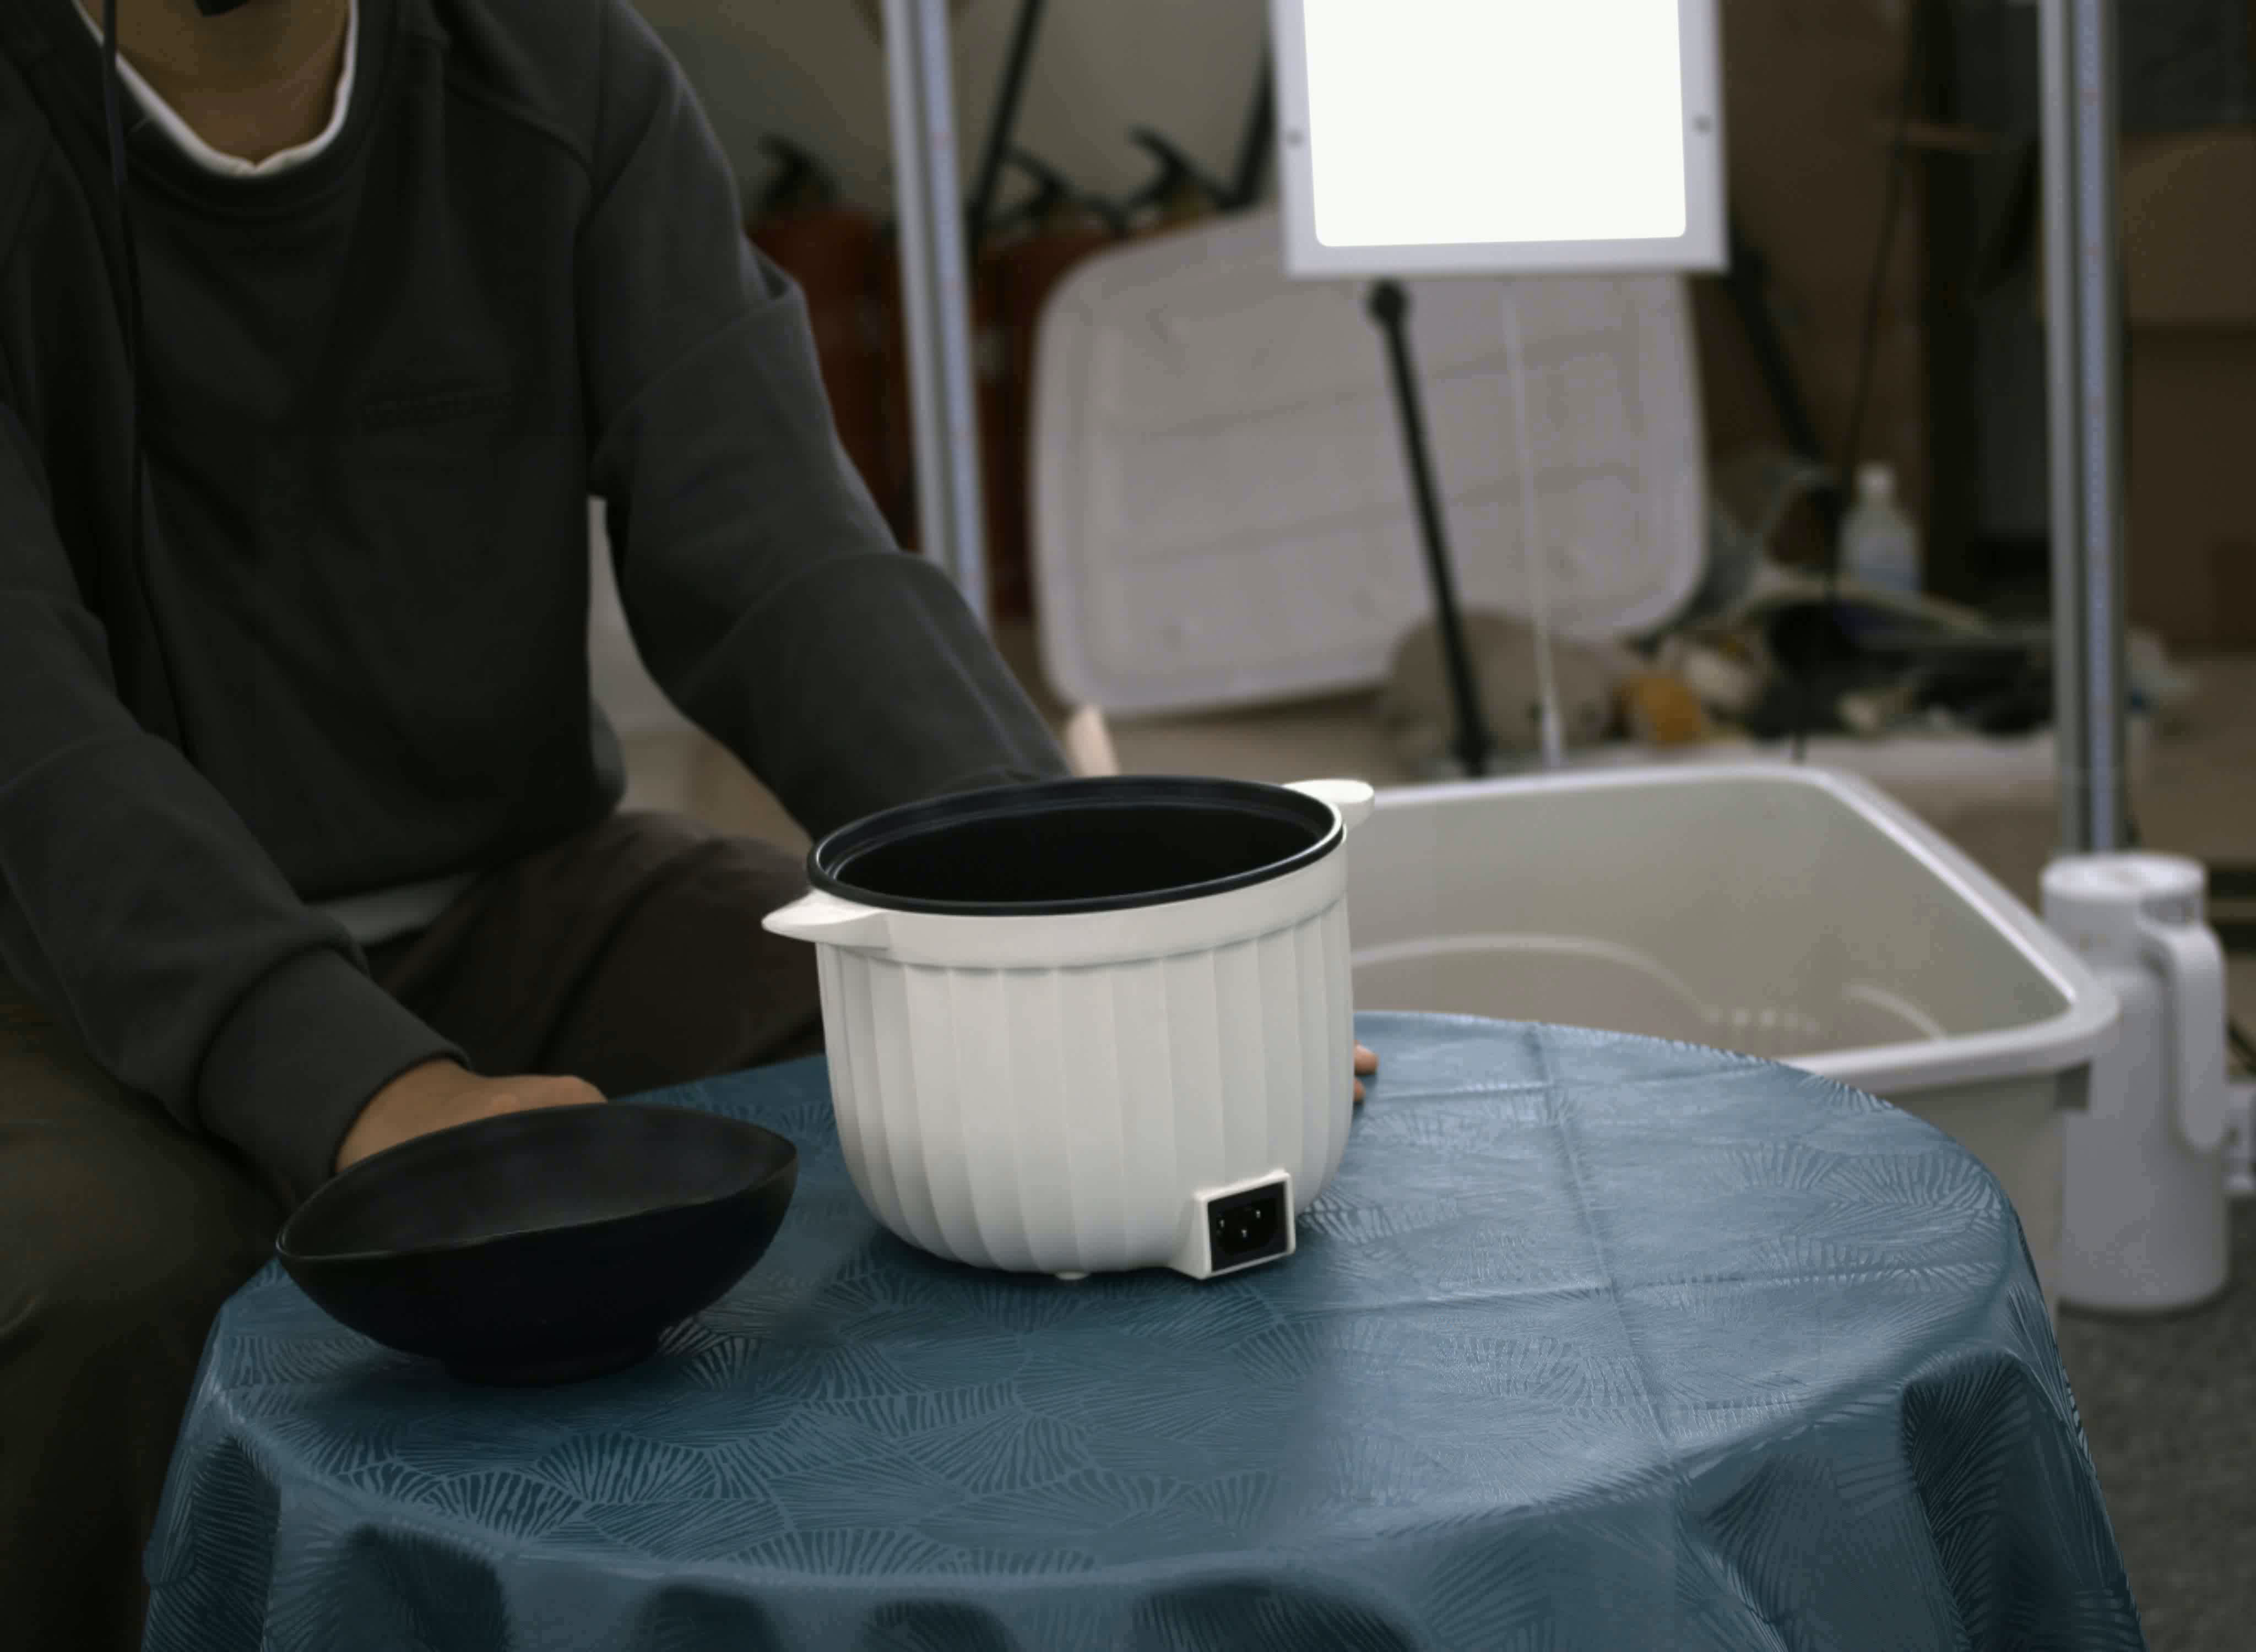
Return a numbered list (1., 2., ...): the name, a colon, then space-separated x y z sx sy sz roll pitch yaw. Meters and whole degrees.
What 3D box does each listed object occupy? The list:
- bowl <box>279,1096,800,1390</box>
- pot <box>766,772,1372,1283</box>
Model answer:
1. bowl: -0.186 0.140 1.774 0.168 0.067 0.139 -10 14 -14
2. pot: -0.017 0.068 1.855 0.234 0.143 0.194 -12 18 -32
